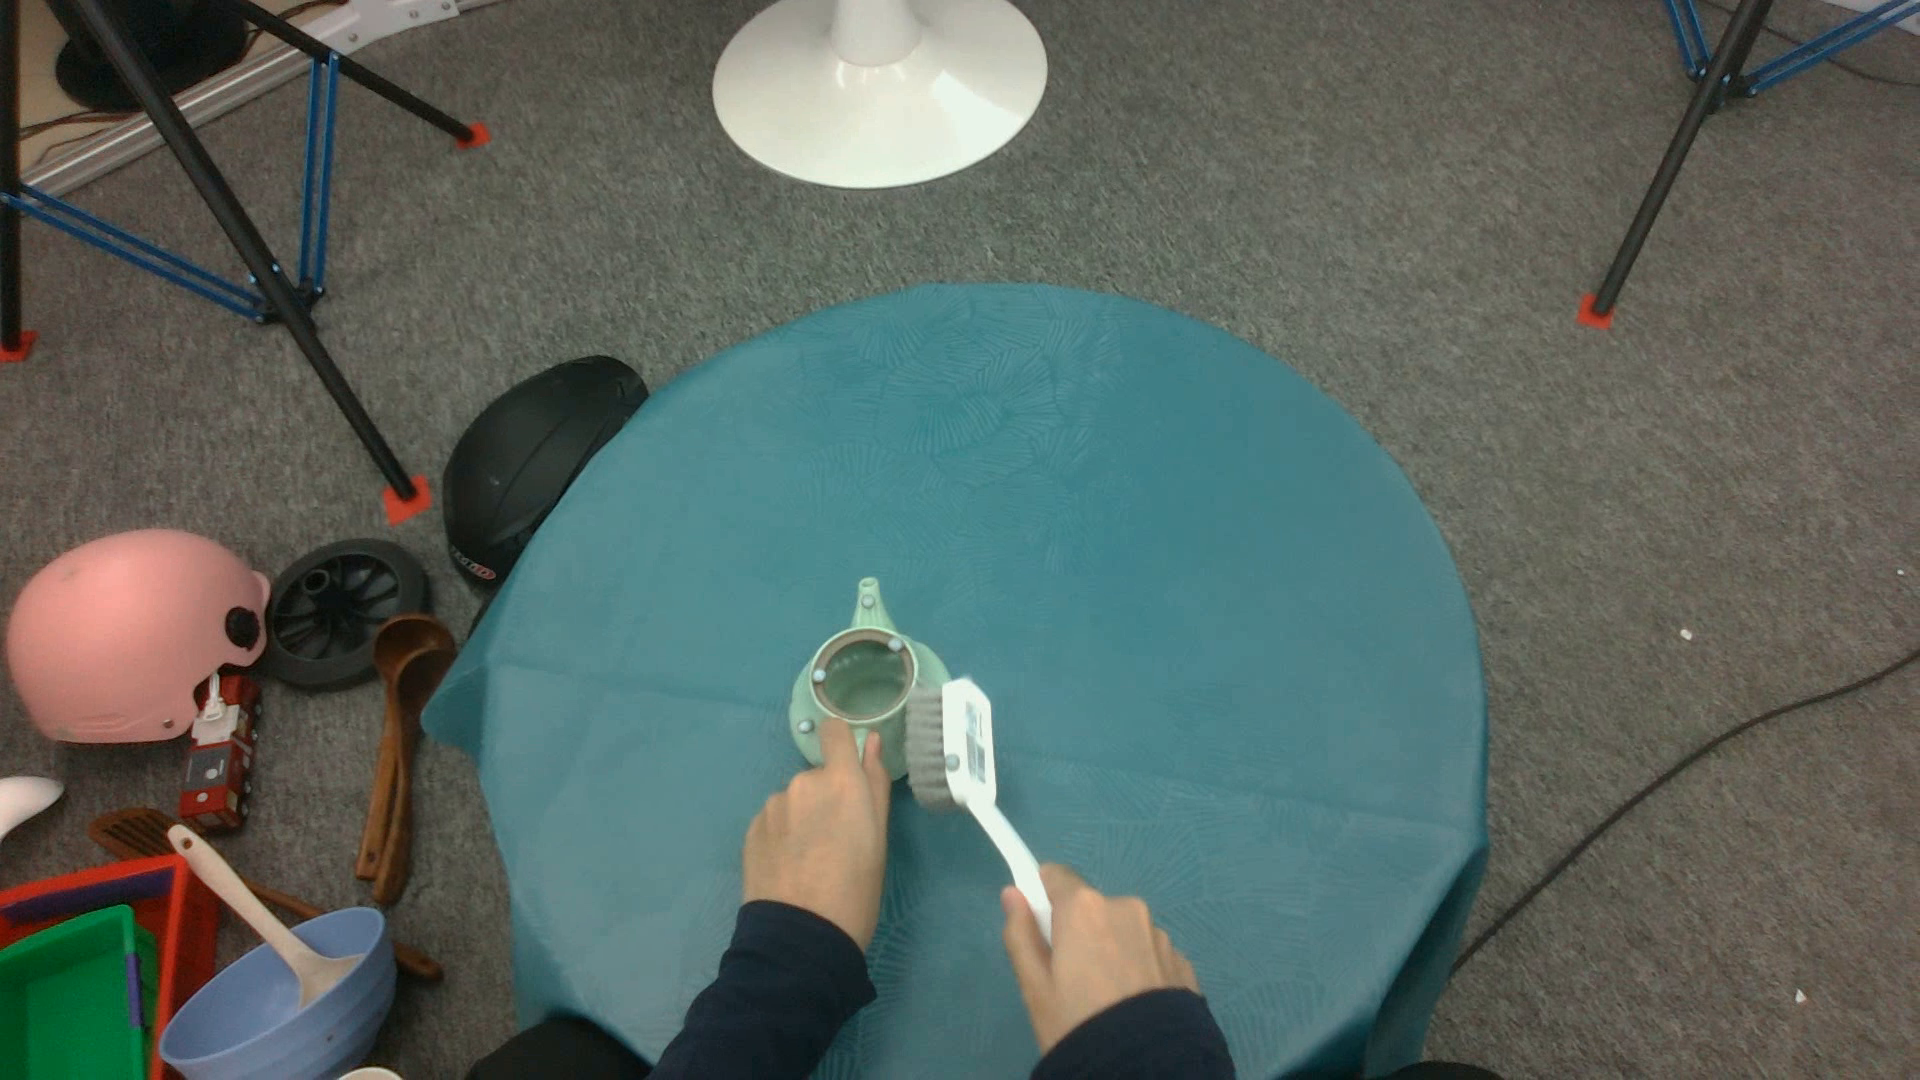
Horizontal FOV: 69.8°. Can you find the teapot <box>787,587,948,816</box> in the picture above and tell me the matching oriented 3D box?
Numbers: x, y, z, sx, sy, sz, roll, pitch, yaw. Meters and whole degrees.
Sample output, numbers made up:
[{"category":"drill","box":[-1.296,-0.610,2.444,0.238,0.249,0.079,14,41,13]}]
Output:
[{"category":"teapot","box":[-0.054,0.099,0.793,0.096,0.061,0.137,-3,53,1]}]

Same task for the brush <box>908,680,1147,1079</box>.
[{"category":"brush","box":[0.023,0.168,0.691,0.050,0.034,0.244,-34,48,9]}]
